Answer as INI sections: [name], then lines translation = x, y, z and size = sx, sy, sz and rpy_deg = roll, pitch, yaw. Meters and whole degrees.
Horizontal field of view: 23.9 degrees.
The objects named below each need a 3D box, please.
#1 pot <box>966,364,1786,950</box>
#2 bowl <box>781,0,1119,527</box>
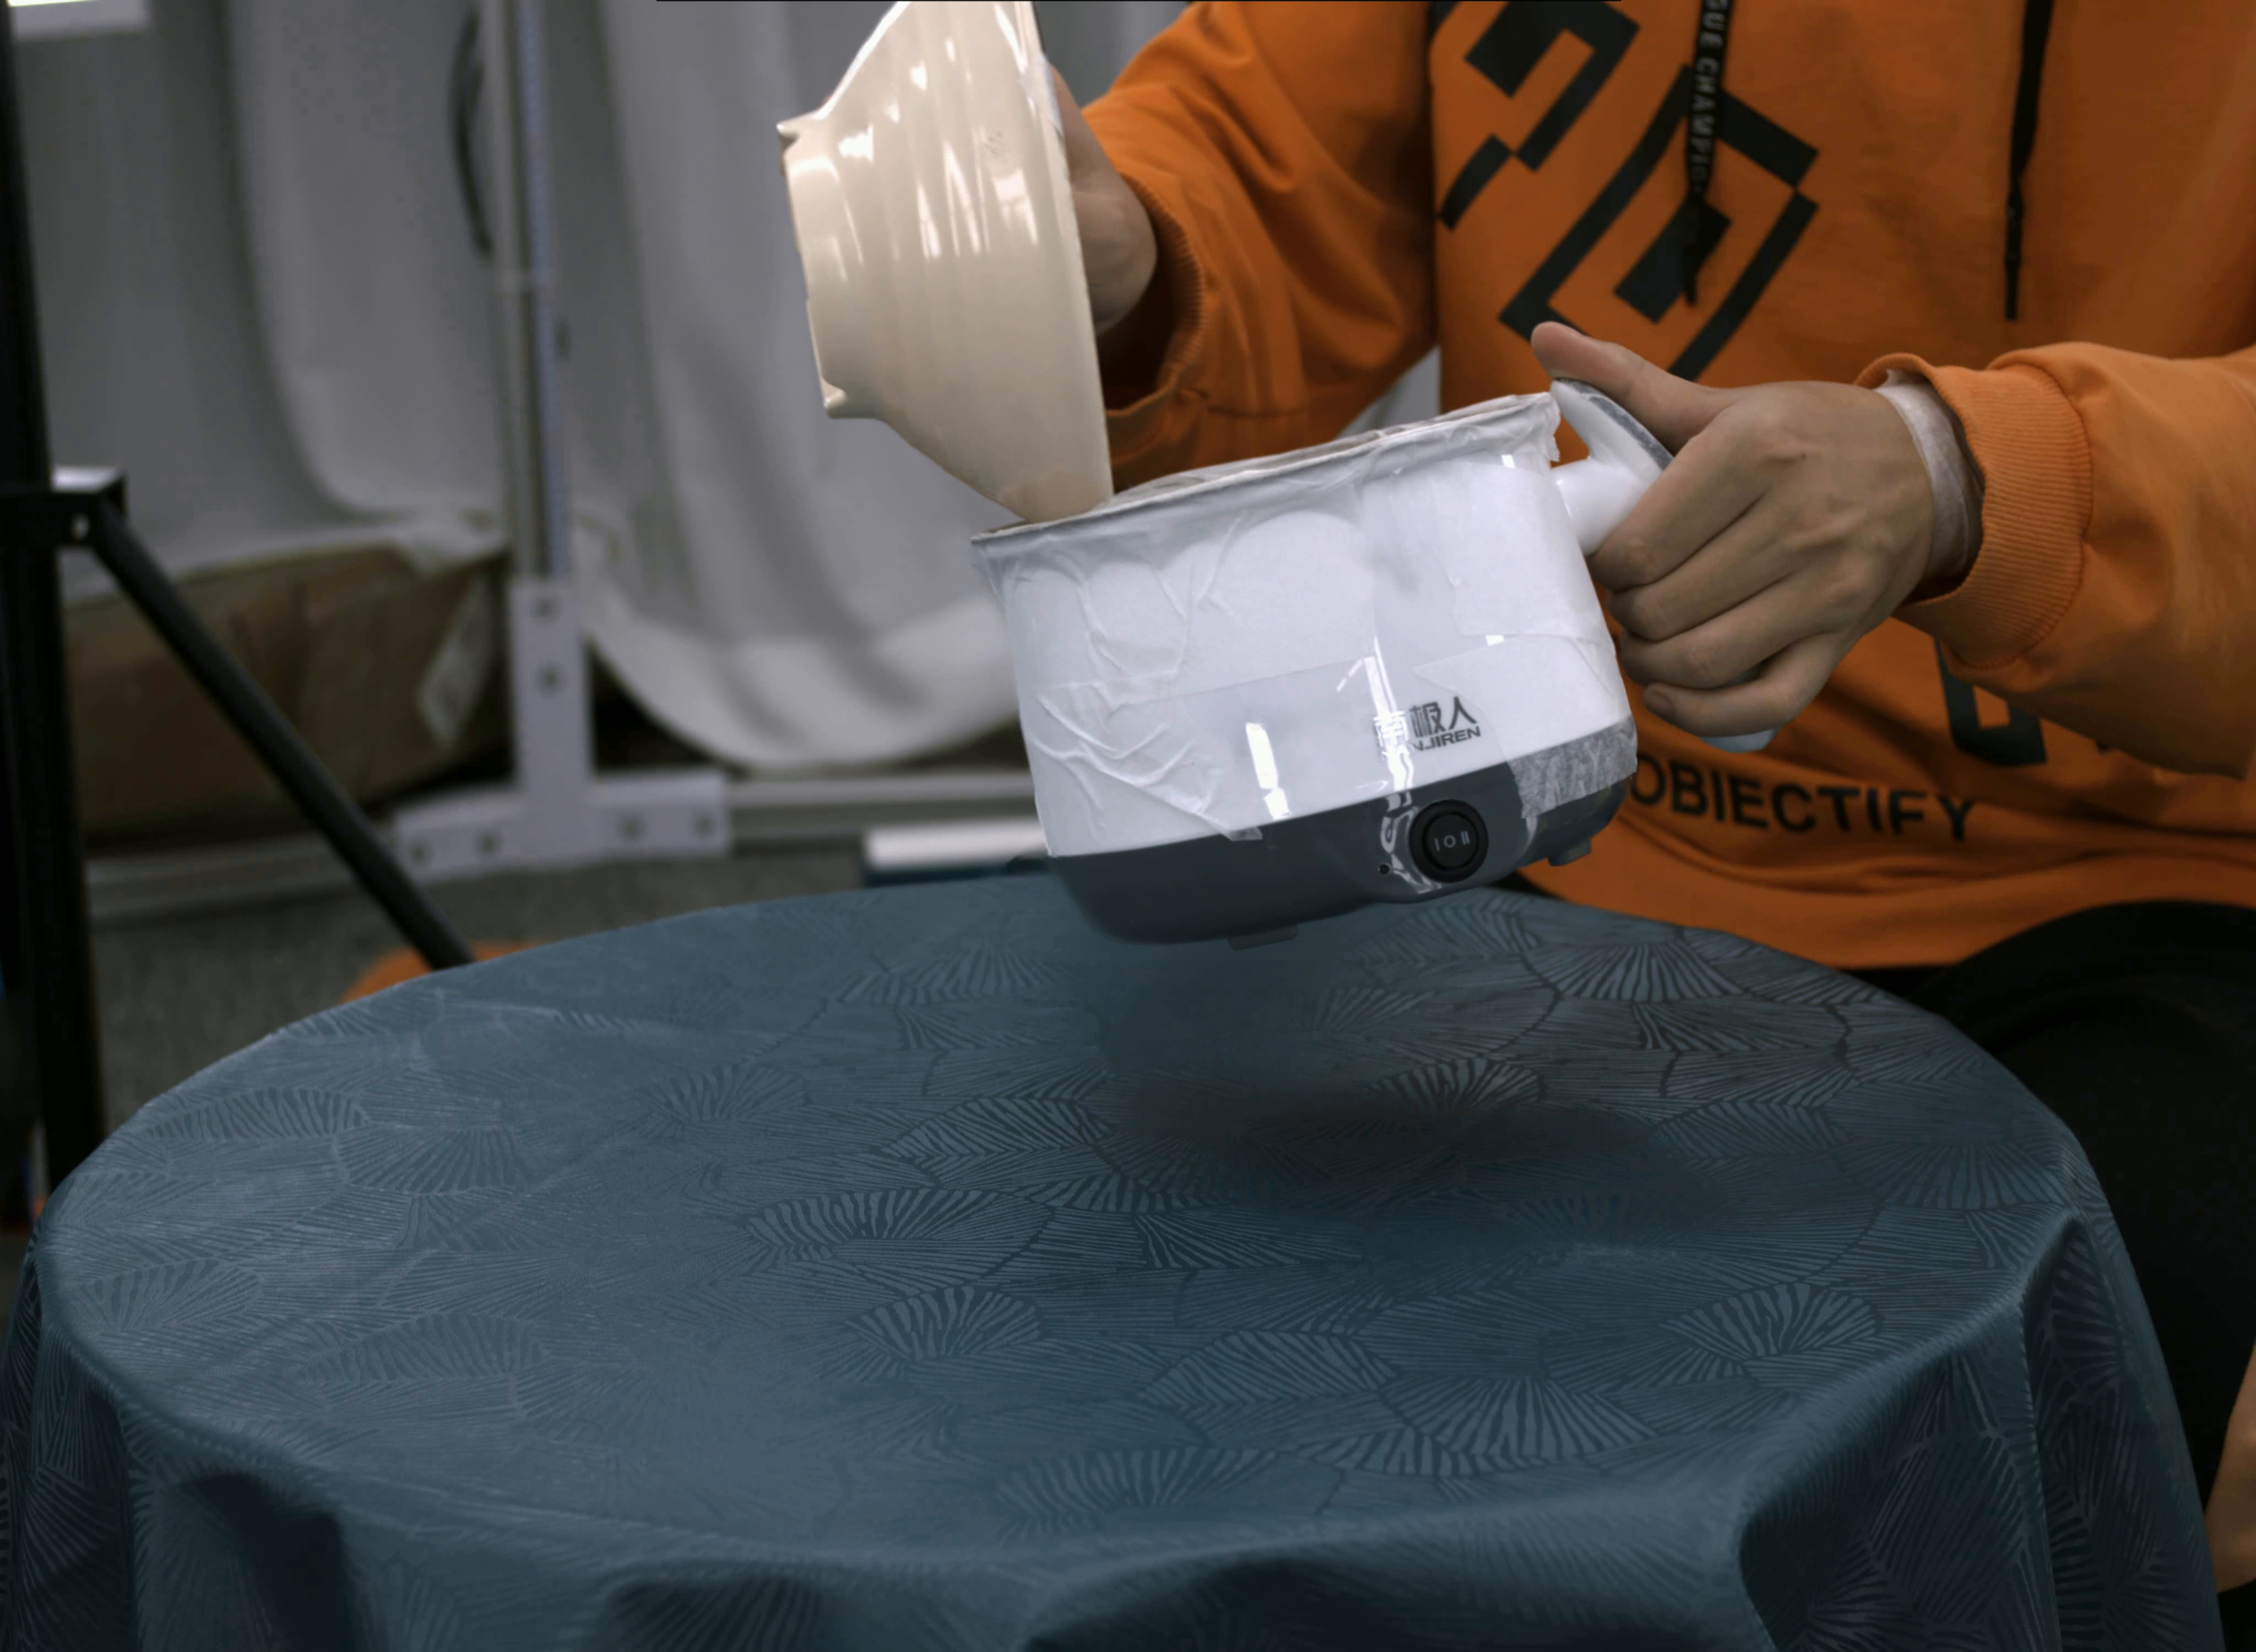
[pot]
translation = 0.079, -0.052, 1.572
size = 0.230, 0.137, 0.181
rpy_deg = -15, 5, -16
[bowl]
translation = -0.057, -0.170, 1.562
size = 0.077, 0.204, 0.206
rpy_deg = -9, 16, -5
